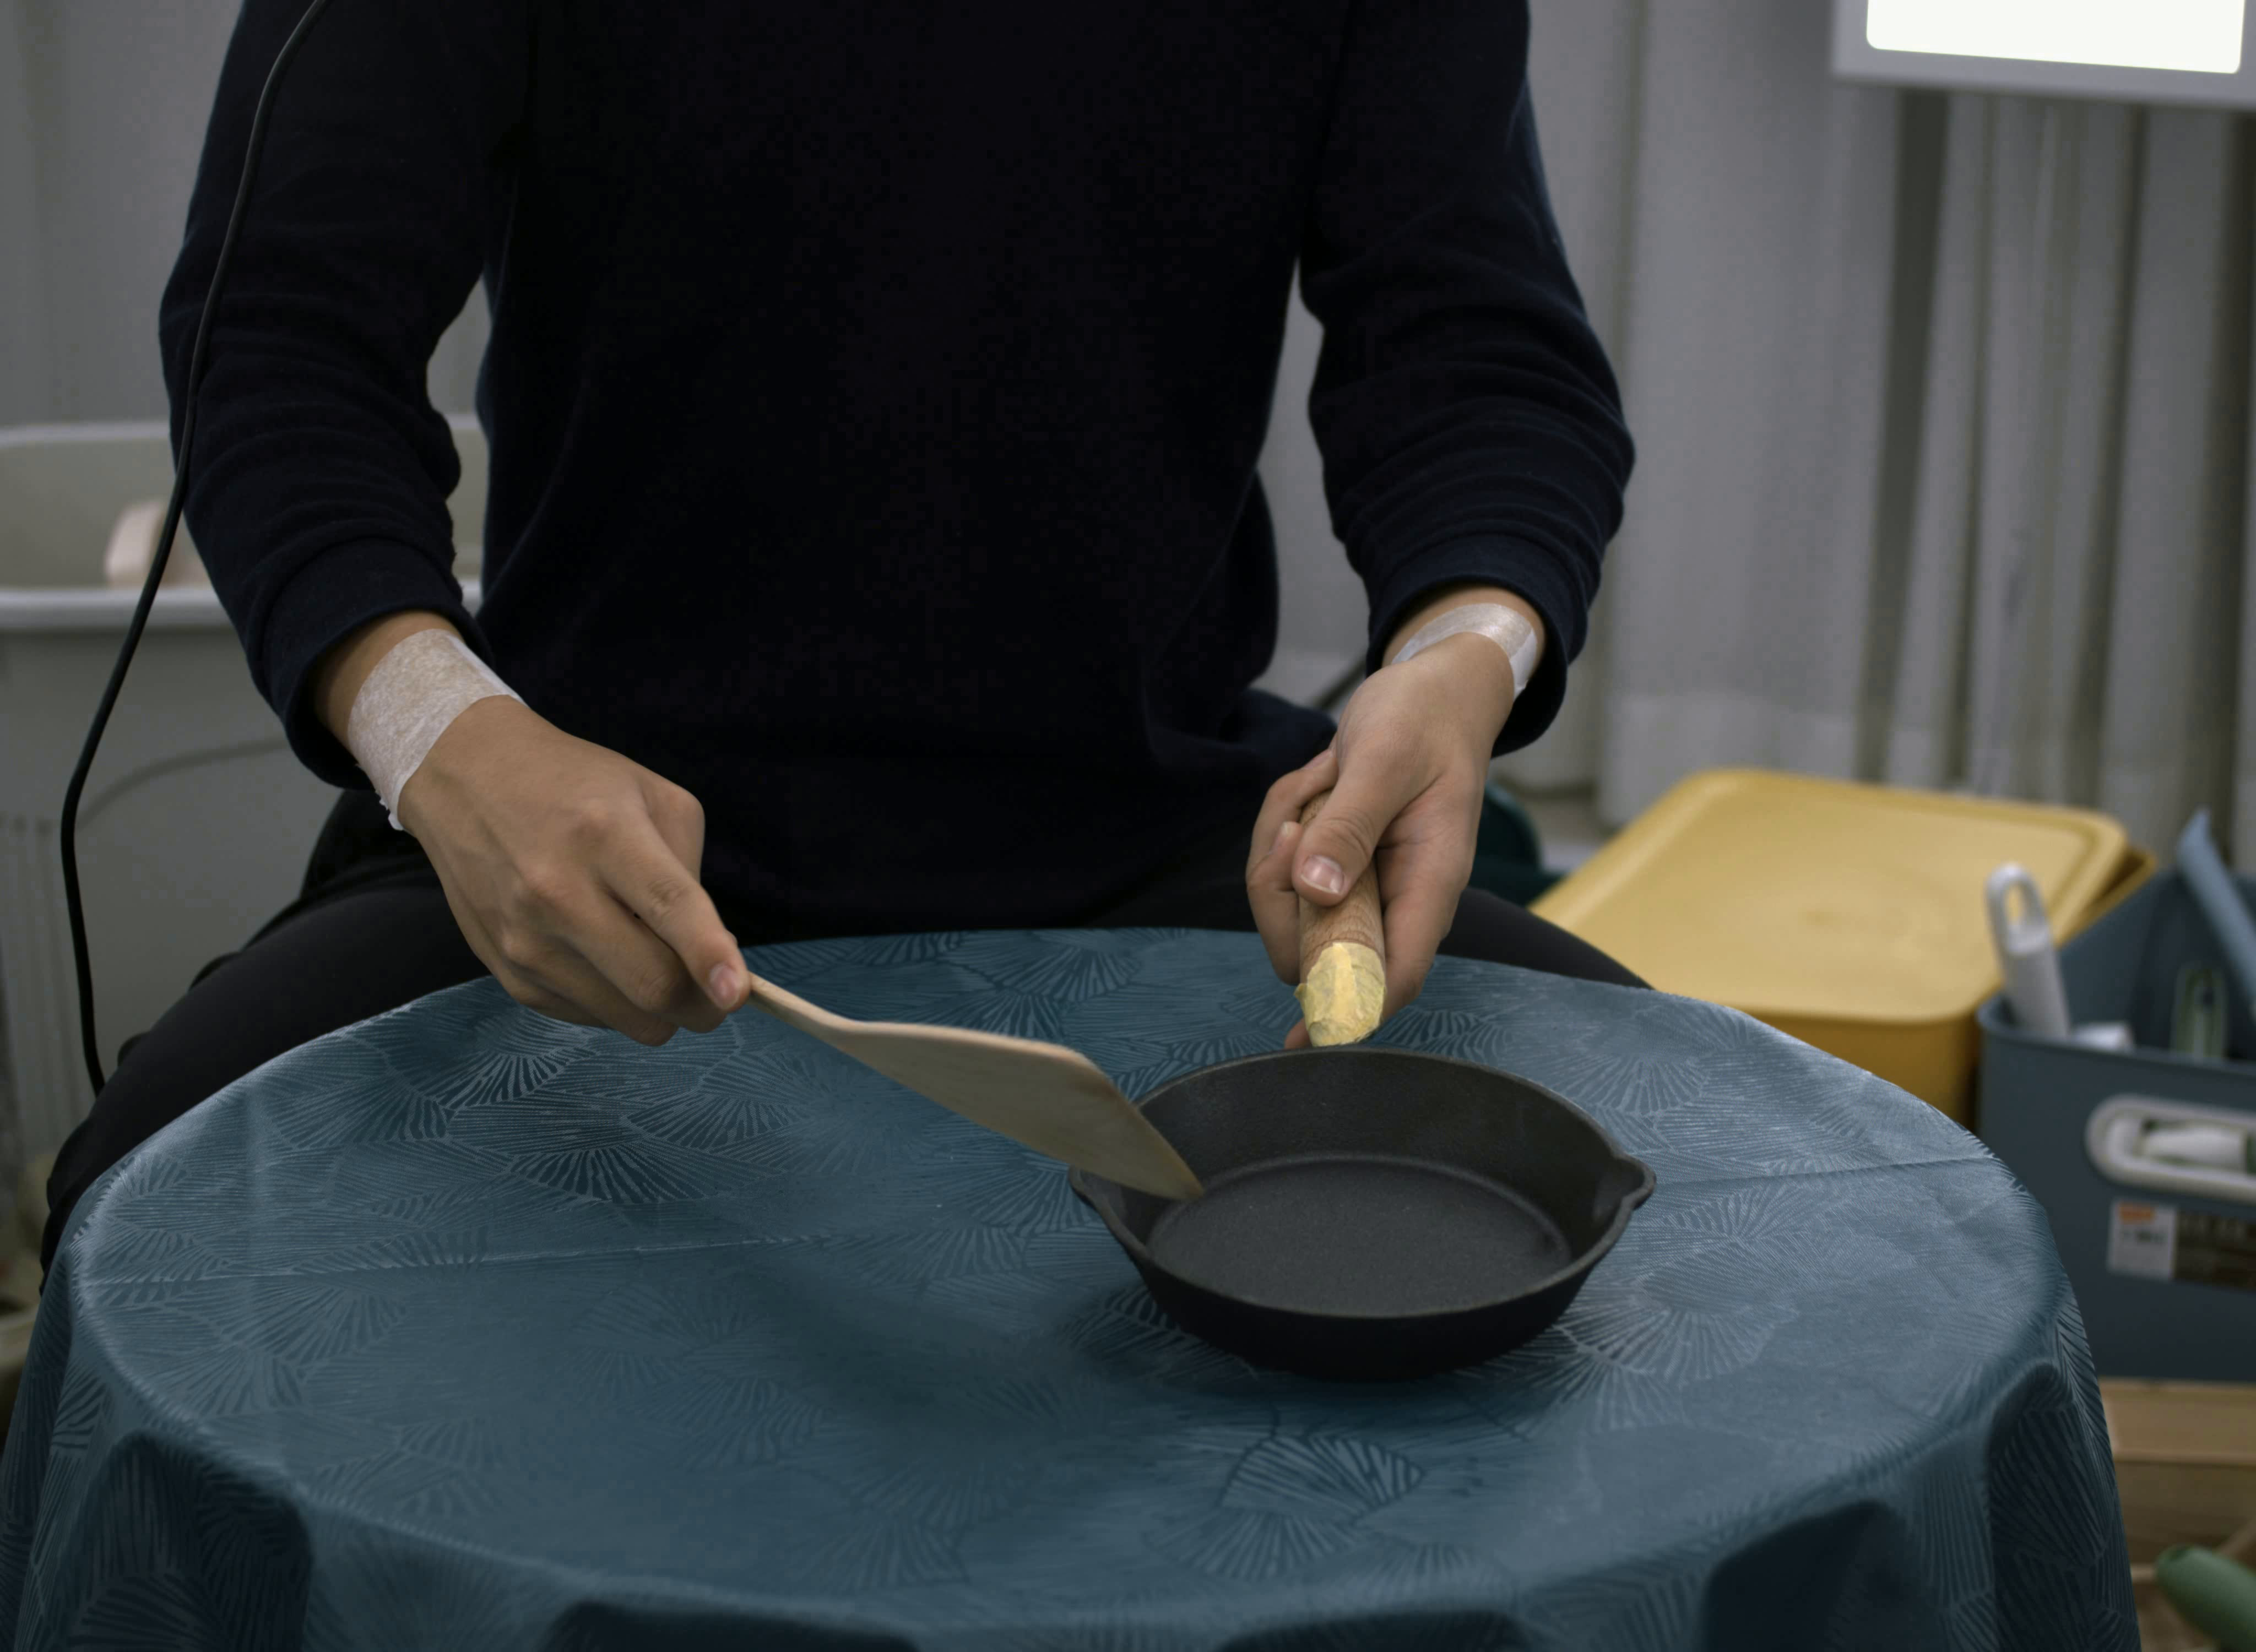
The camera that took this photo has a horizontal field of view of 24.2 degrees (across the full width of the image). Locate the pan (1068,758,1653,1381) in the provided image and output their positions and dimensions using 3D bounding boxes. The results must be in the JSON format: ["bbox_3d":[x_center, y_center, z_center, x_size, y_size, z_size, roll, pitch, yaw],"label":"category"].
[{"bbox_3d":[0.069,0.069,1.592,0.168,0.050,0.321,2,27,1],"label":"pan"}]

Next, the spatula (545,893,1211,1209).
[{"bbox_3d":[-0.085,0.056,1.540,0.016,0.081,0.323,-52,34,-14],"label":"spatula"}]
